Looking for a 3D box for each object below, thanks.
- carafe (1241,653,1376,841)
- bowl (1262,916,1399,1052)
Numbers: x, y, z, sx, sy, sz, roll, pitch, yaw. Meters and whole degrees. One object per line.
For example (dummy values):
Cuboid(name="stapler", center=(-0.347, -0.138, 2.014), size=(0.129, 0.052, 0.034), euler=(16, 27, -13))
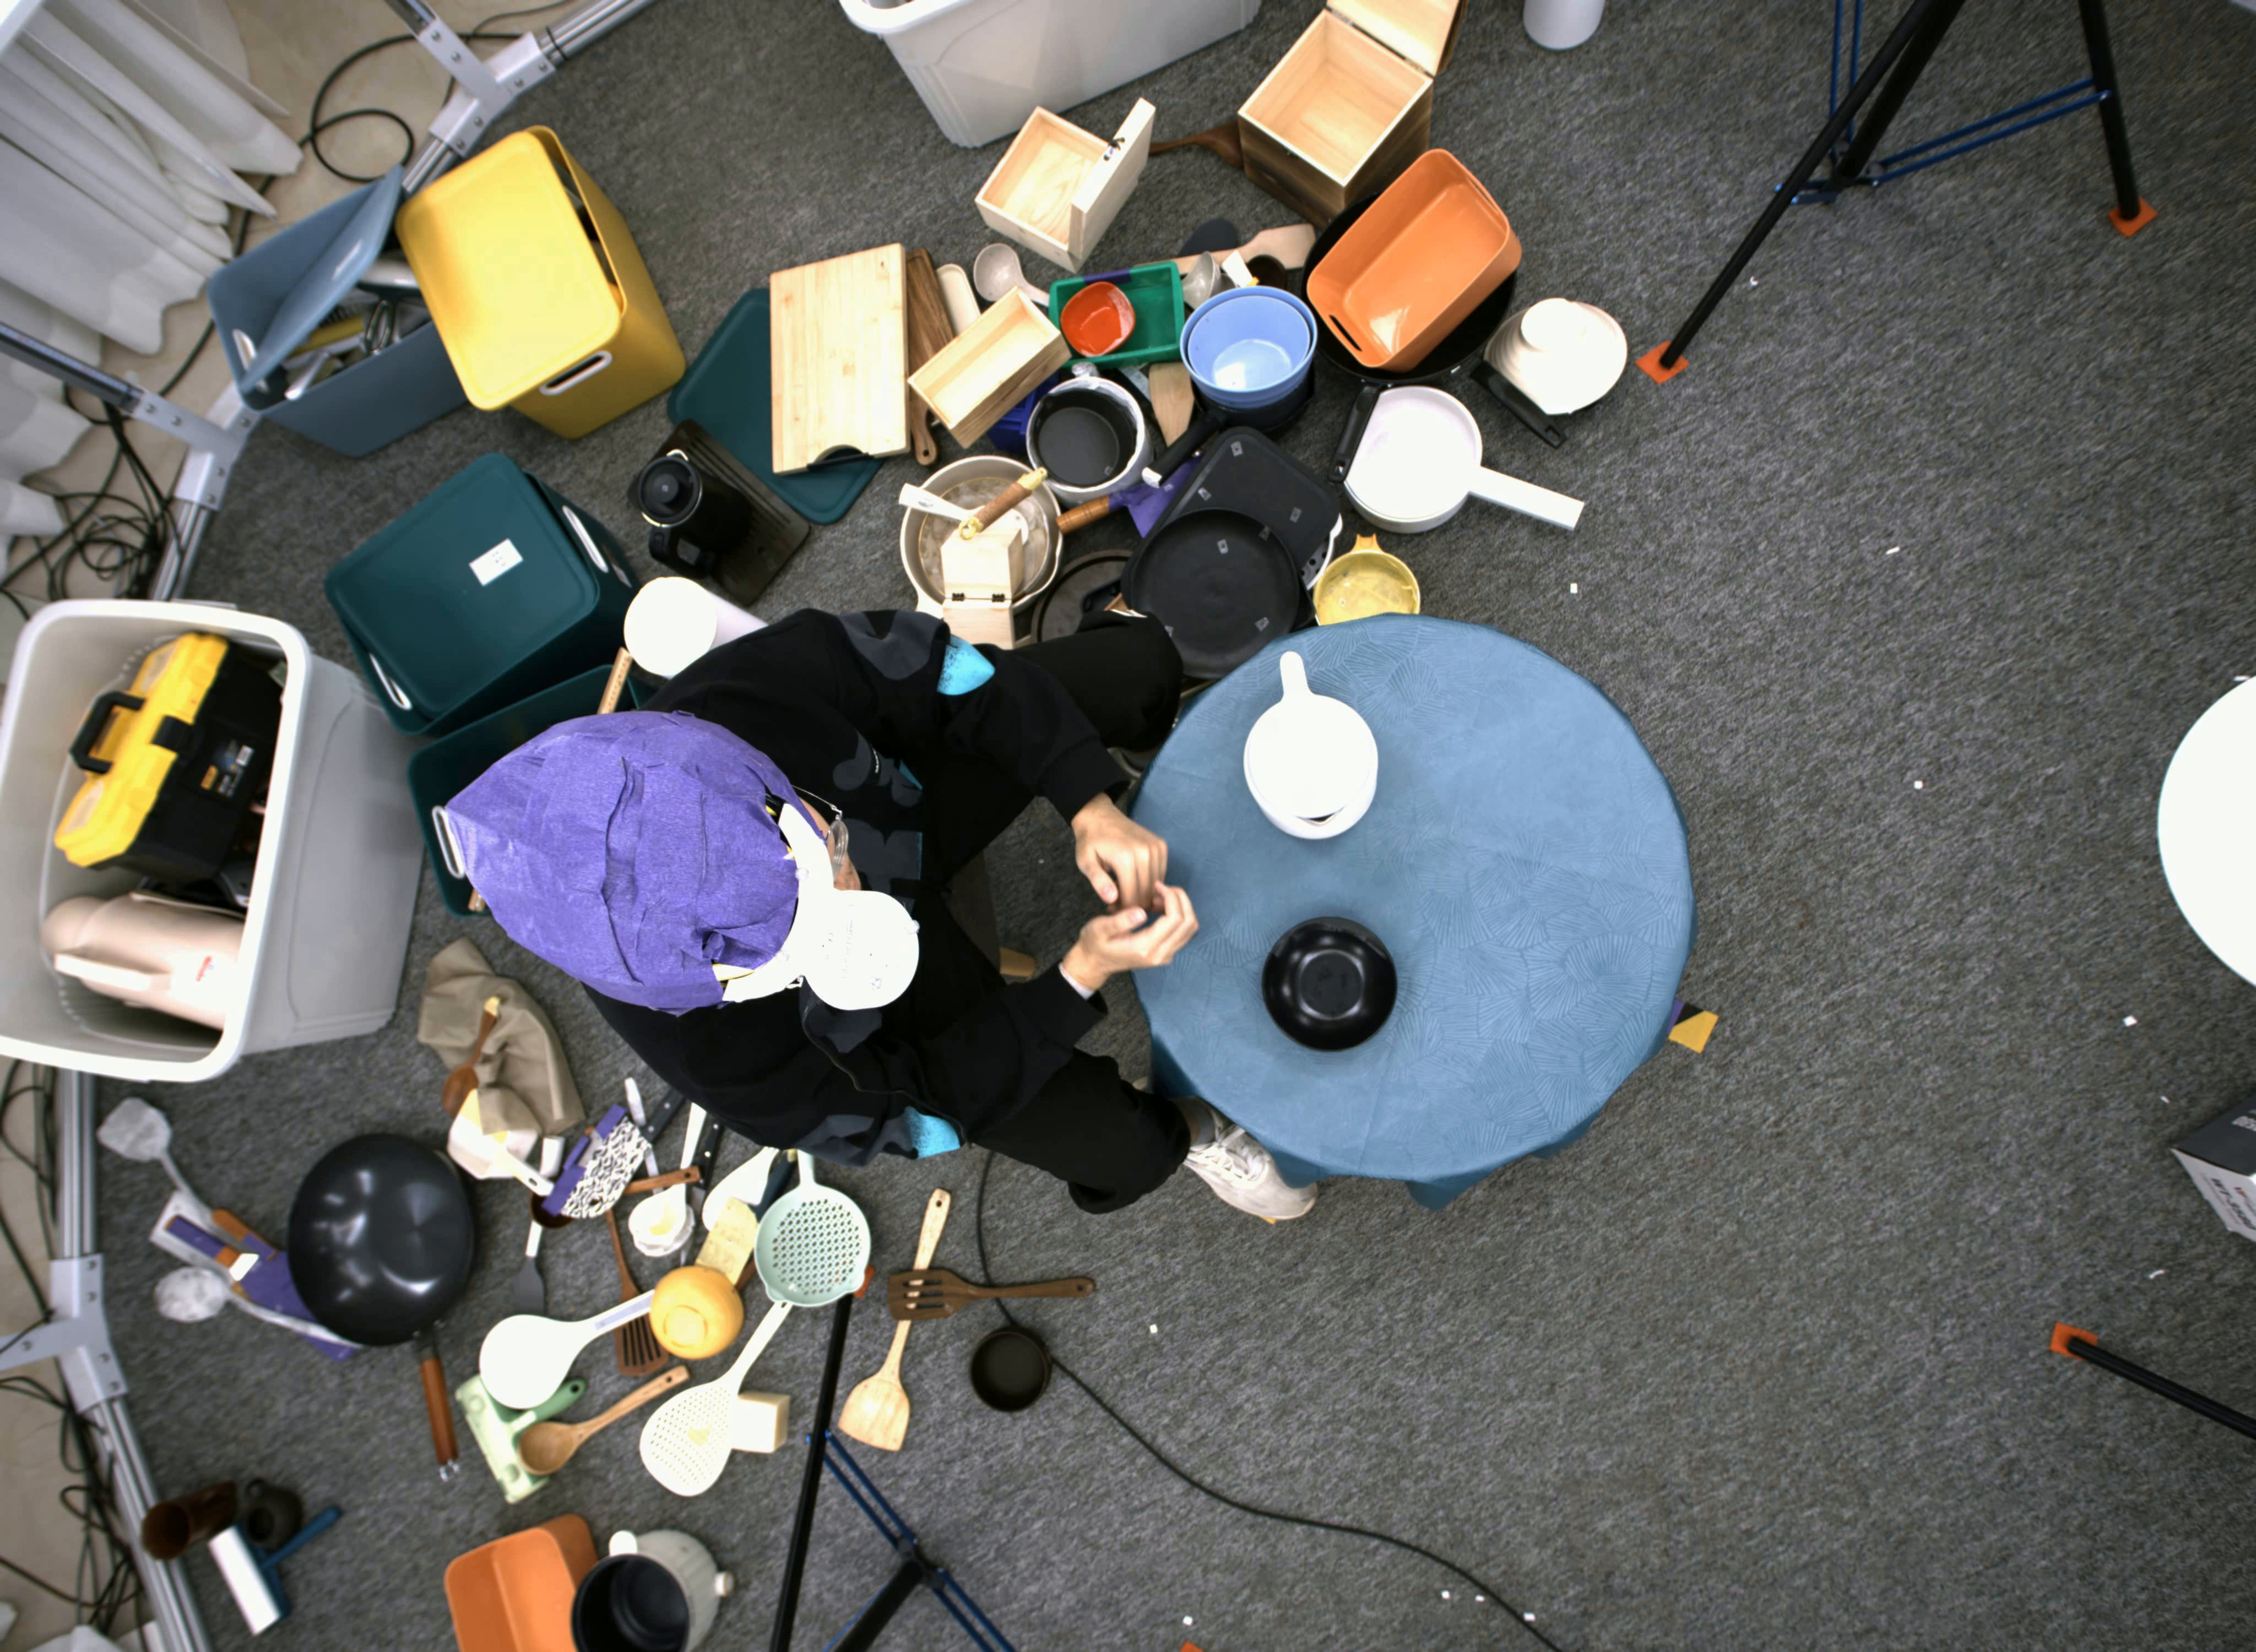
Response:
Cuboid(name="carafe", center=(0.179, -0.082, 1.393), size=(0.133, 0.183, 0.189), euler=(-13, 81, 7))
Cuboid(name="bowl", center=(0.210, 0.162, 1.437), size=(0.140, 0.050, 0.139), euler=(-1, 88, 12))
